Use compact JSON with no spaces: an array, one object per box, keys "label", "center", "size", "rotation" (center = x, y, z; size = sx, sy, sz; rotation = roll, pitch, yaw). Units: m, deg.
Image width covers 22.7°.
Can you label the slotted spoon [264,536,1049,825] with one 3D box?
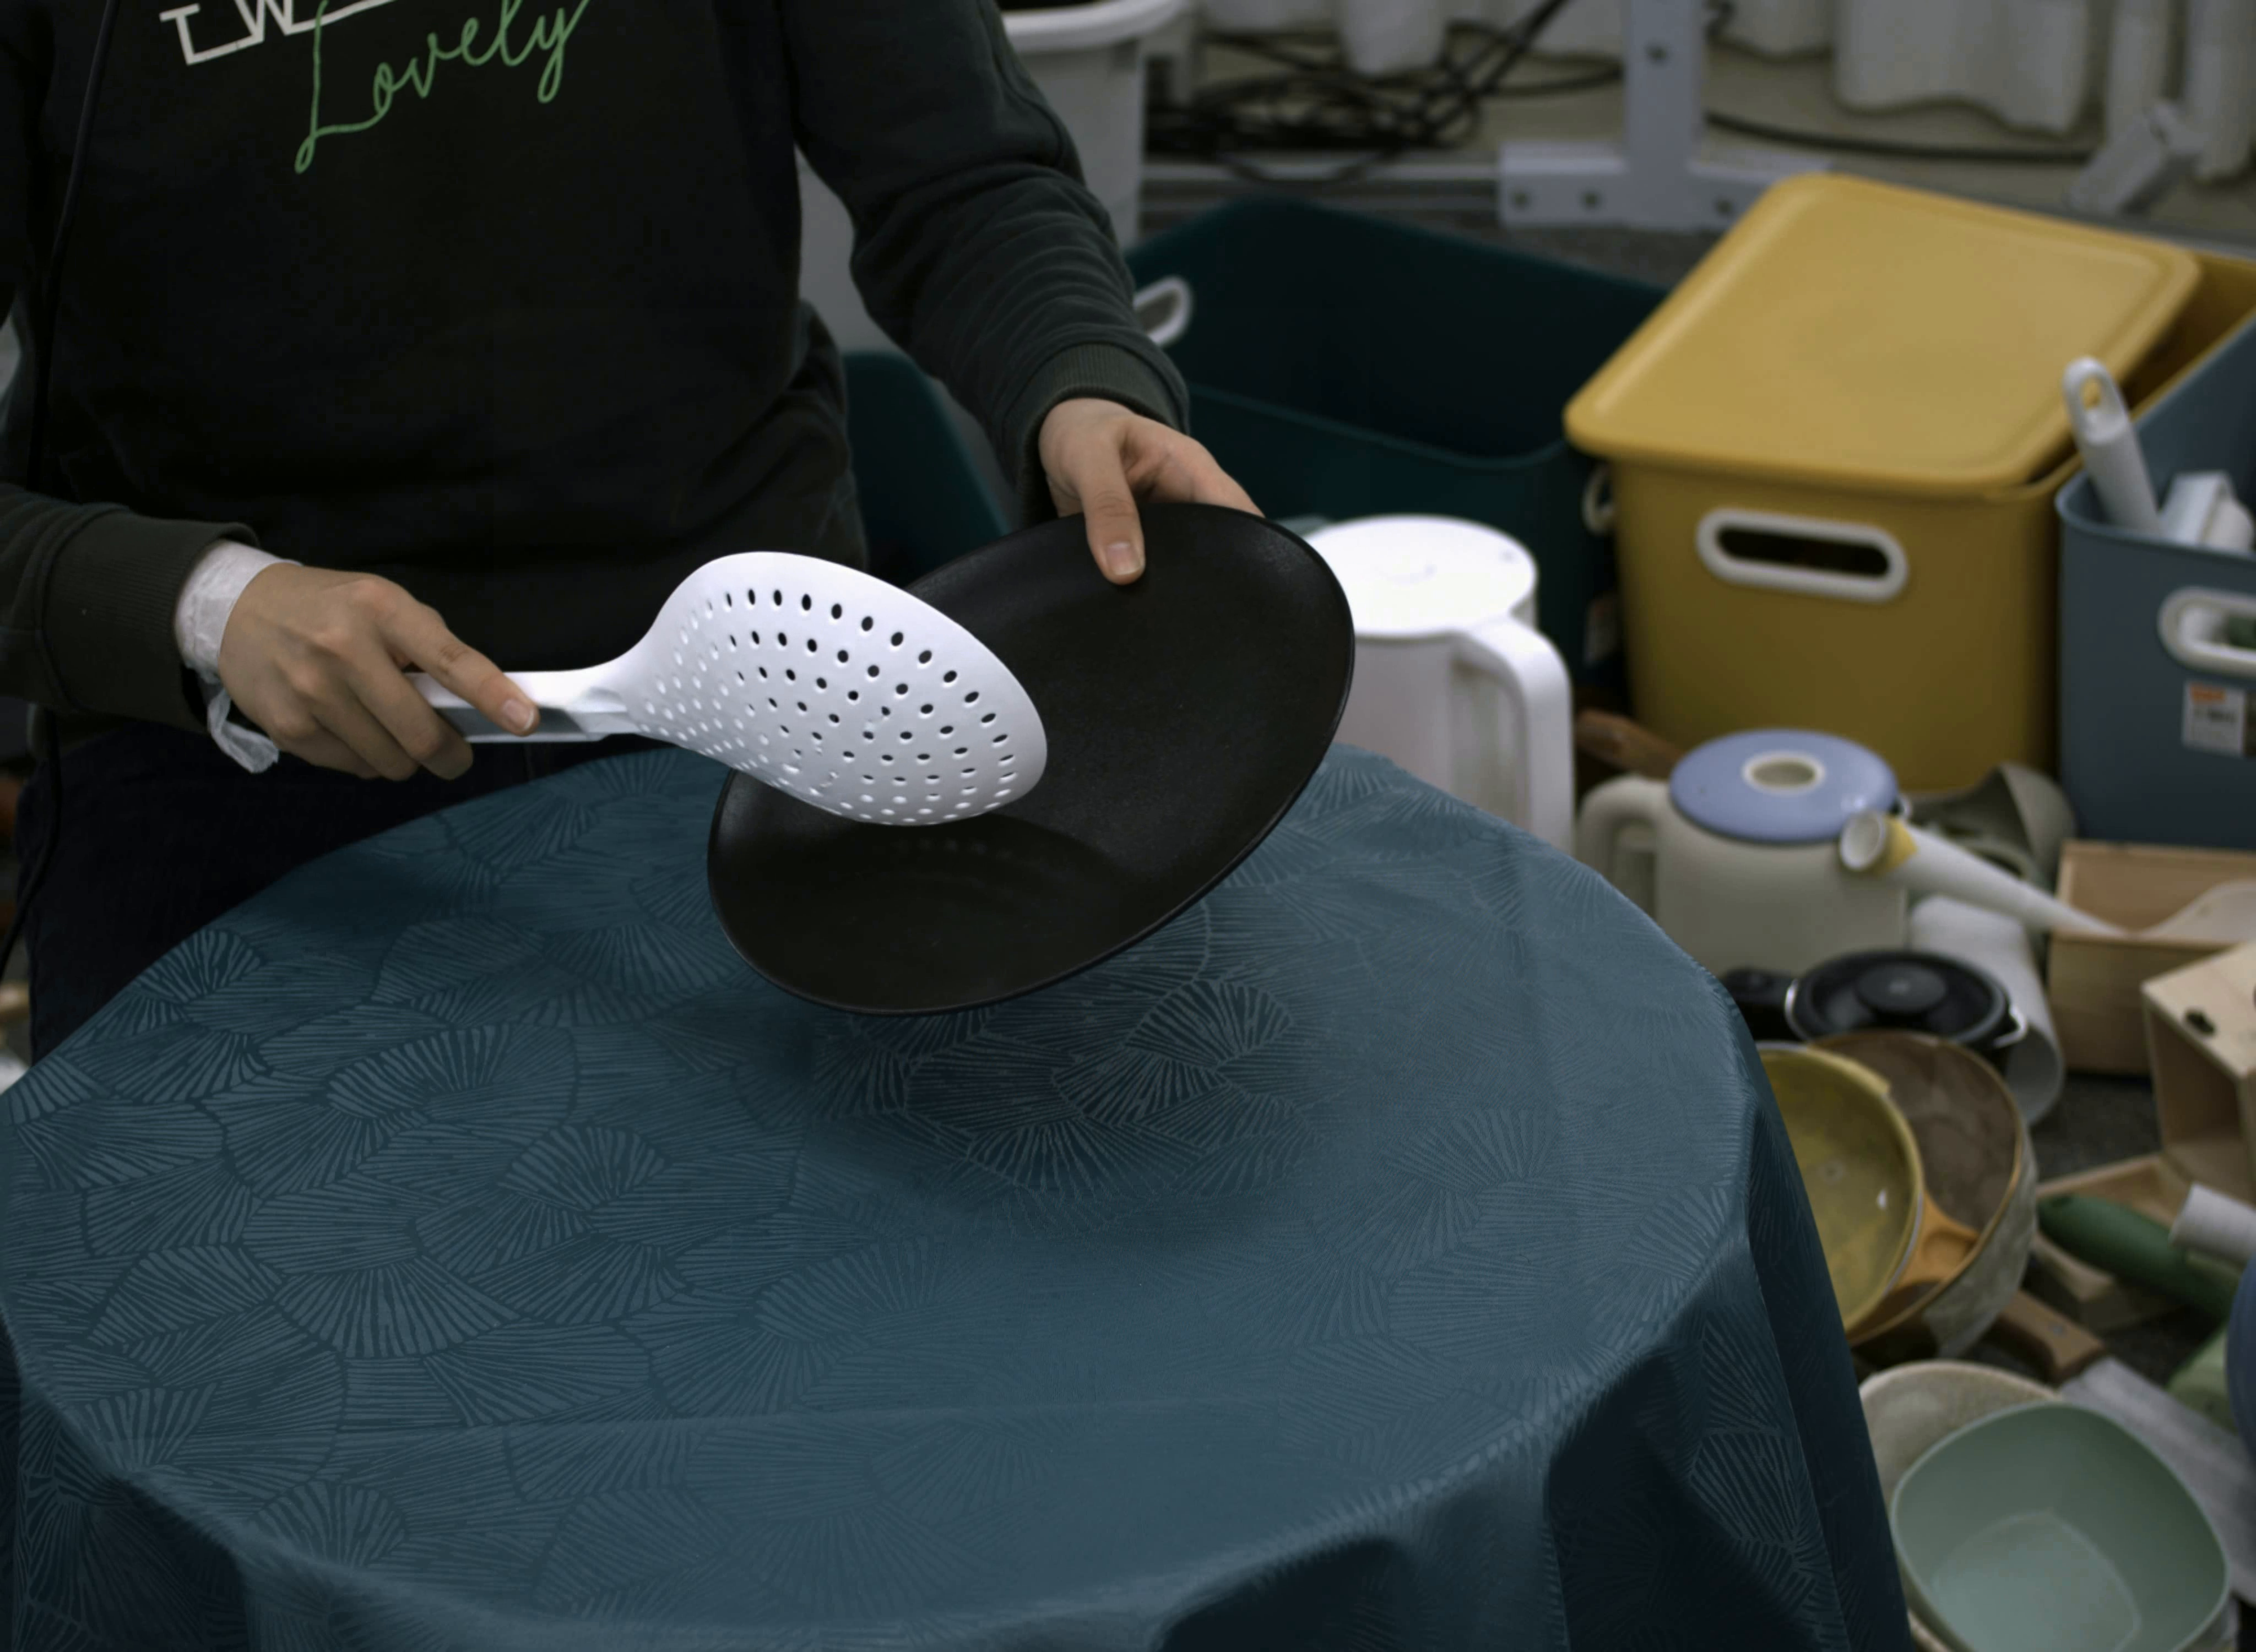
[{"label":"slotted spoon","center":[-0.175,-0.043,1.954],"size":[0.347,0.135,0.046],"rotation":[3,51,42]}]

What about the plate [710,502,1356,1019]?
[{"label":"plate","center":[-0.030,-0.019,1.927],"size":[0.242,0.023,0.249],"rotation":[-18,38,15]}]
